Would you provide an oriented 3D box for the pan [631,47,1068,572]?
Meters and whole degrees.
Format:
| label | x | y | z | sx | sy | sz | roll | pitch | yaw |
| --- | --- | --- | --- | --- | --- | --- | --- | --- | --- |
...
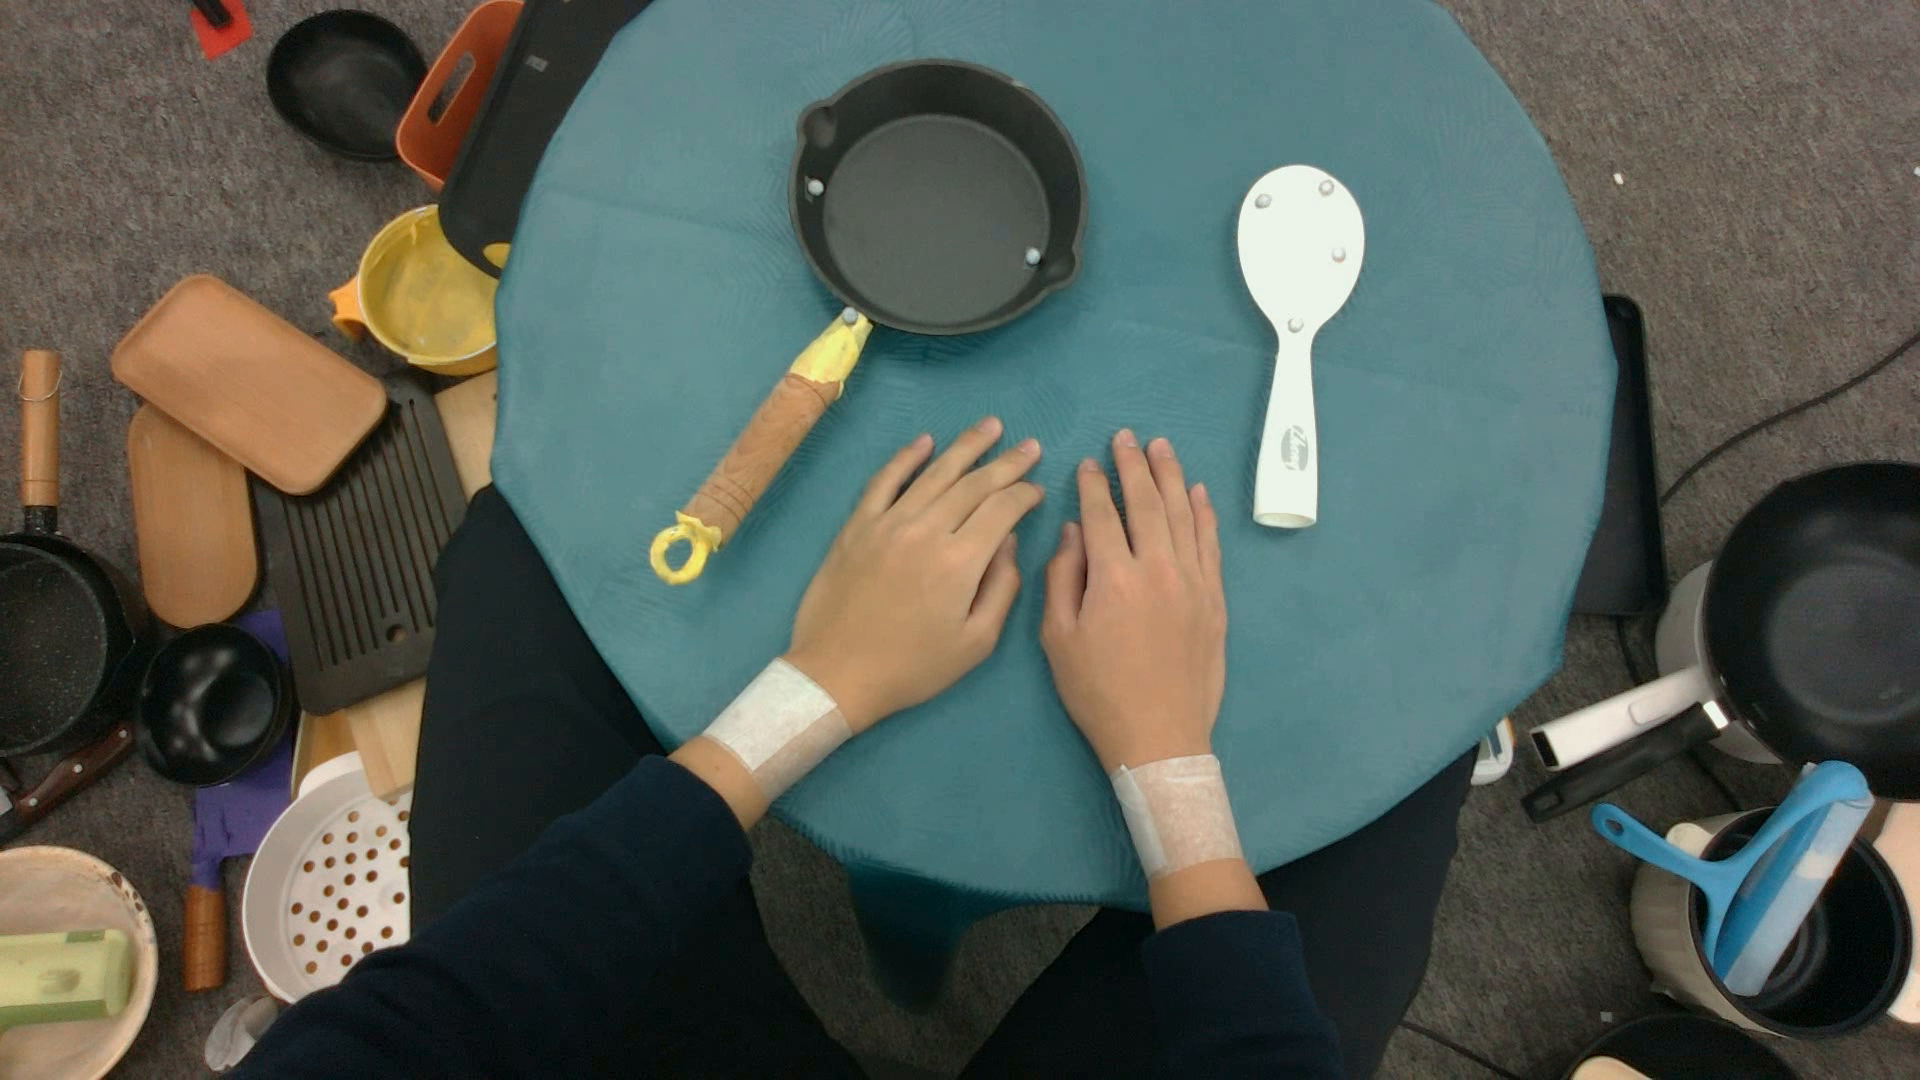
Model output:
| label | x | y | z | sx | sy | sz | roll | pitch | yaw |
| --- | --- | --- | --- | --- | --- | --- | --- | --- | --- |
| pan | -0.067 | -0.118 | 0.707 | 0.169 | 0.049 | 0.325 | 33 | 75 | 3 |

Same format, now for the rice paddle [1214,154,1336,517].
| label | x | y | z | sx | sy | sz | roll | pitch | yaw |
| --- | --- | --- | --- | --- | --- | --- | --- | --- | --- |
| rice paddle | 0.167 | -0.115 | 0.736 | 0.069 | 0.029 | 0.205 | 6 | 77 | -5 |
